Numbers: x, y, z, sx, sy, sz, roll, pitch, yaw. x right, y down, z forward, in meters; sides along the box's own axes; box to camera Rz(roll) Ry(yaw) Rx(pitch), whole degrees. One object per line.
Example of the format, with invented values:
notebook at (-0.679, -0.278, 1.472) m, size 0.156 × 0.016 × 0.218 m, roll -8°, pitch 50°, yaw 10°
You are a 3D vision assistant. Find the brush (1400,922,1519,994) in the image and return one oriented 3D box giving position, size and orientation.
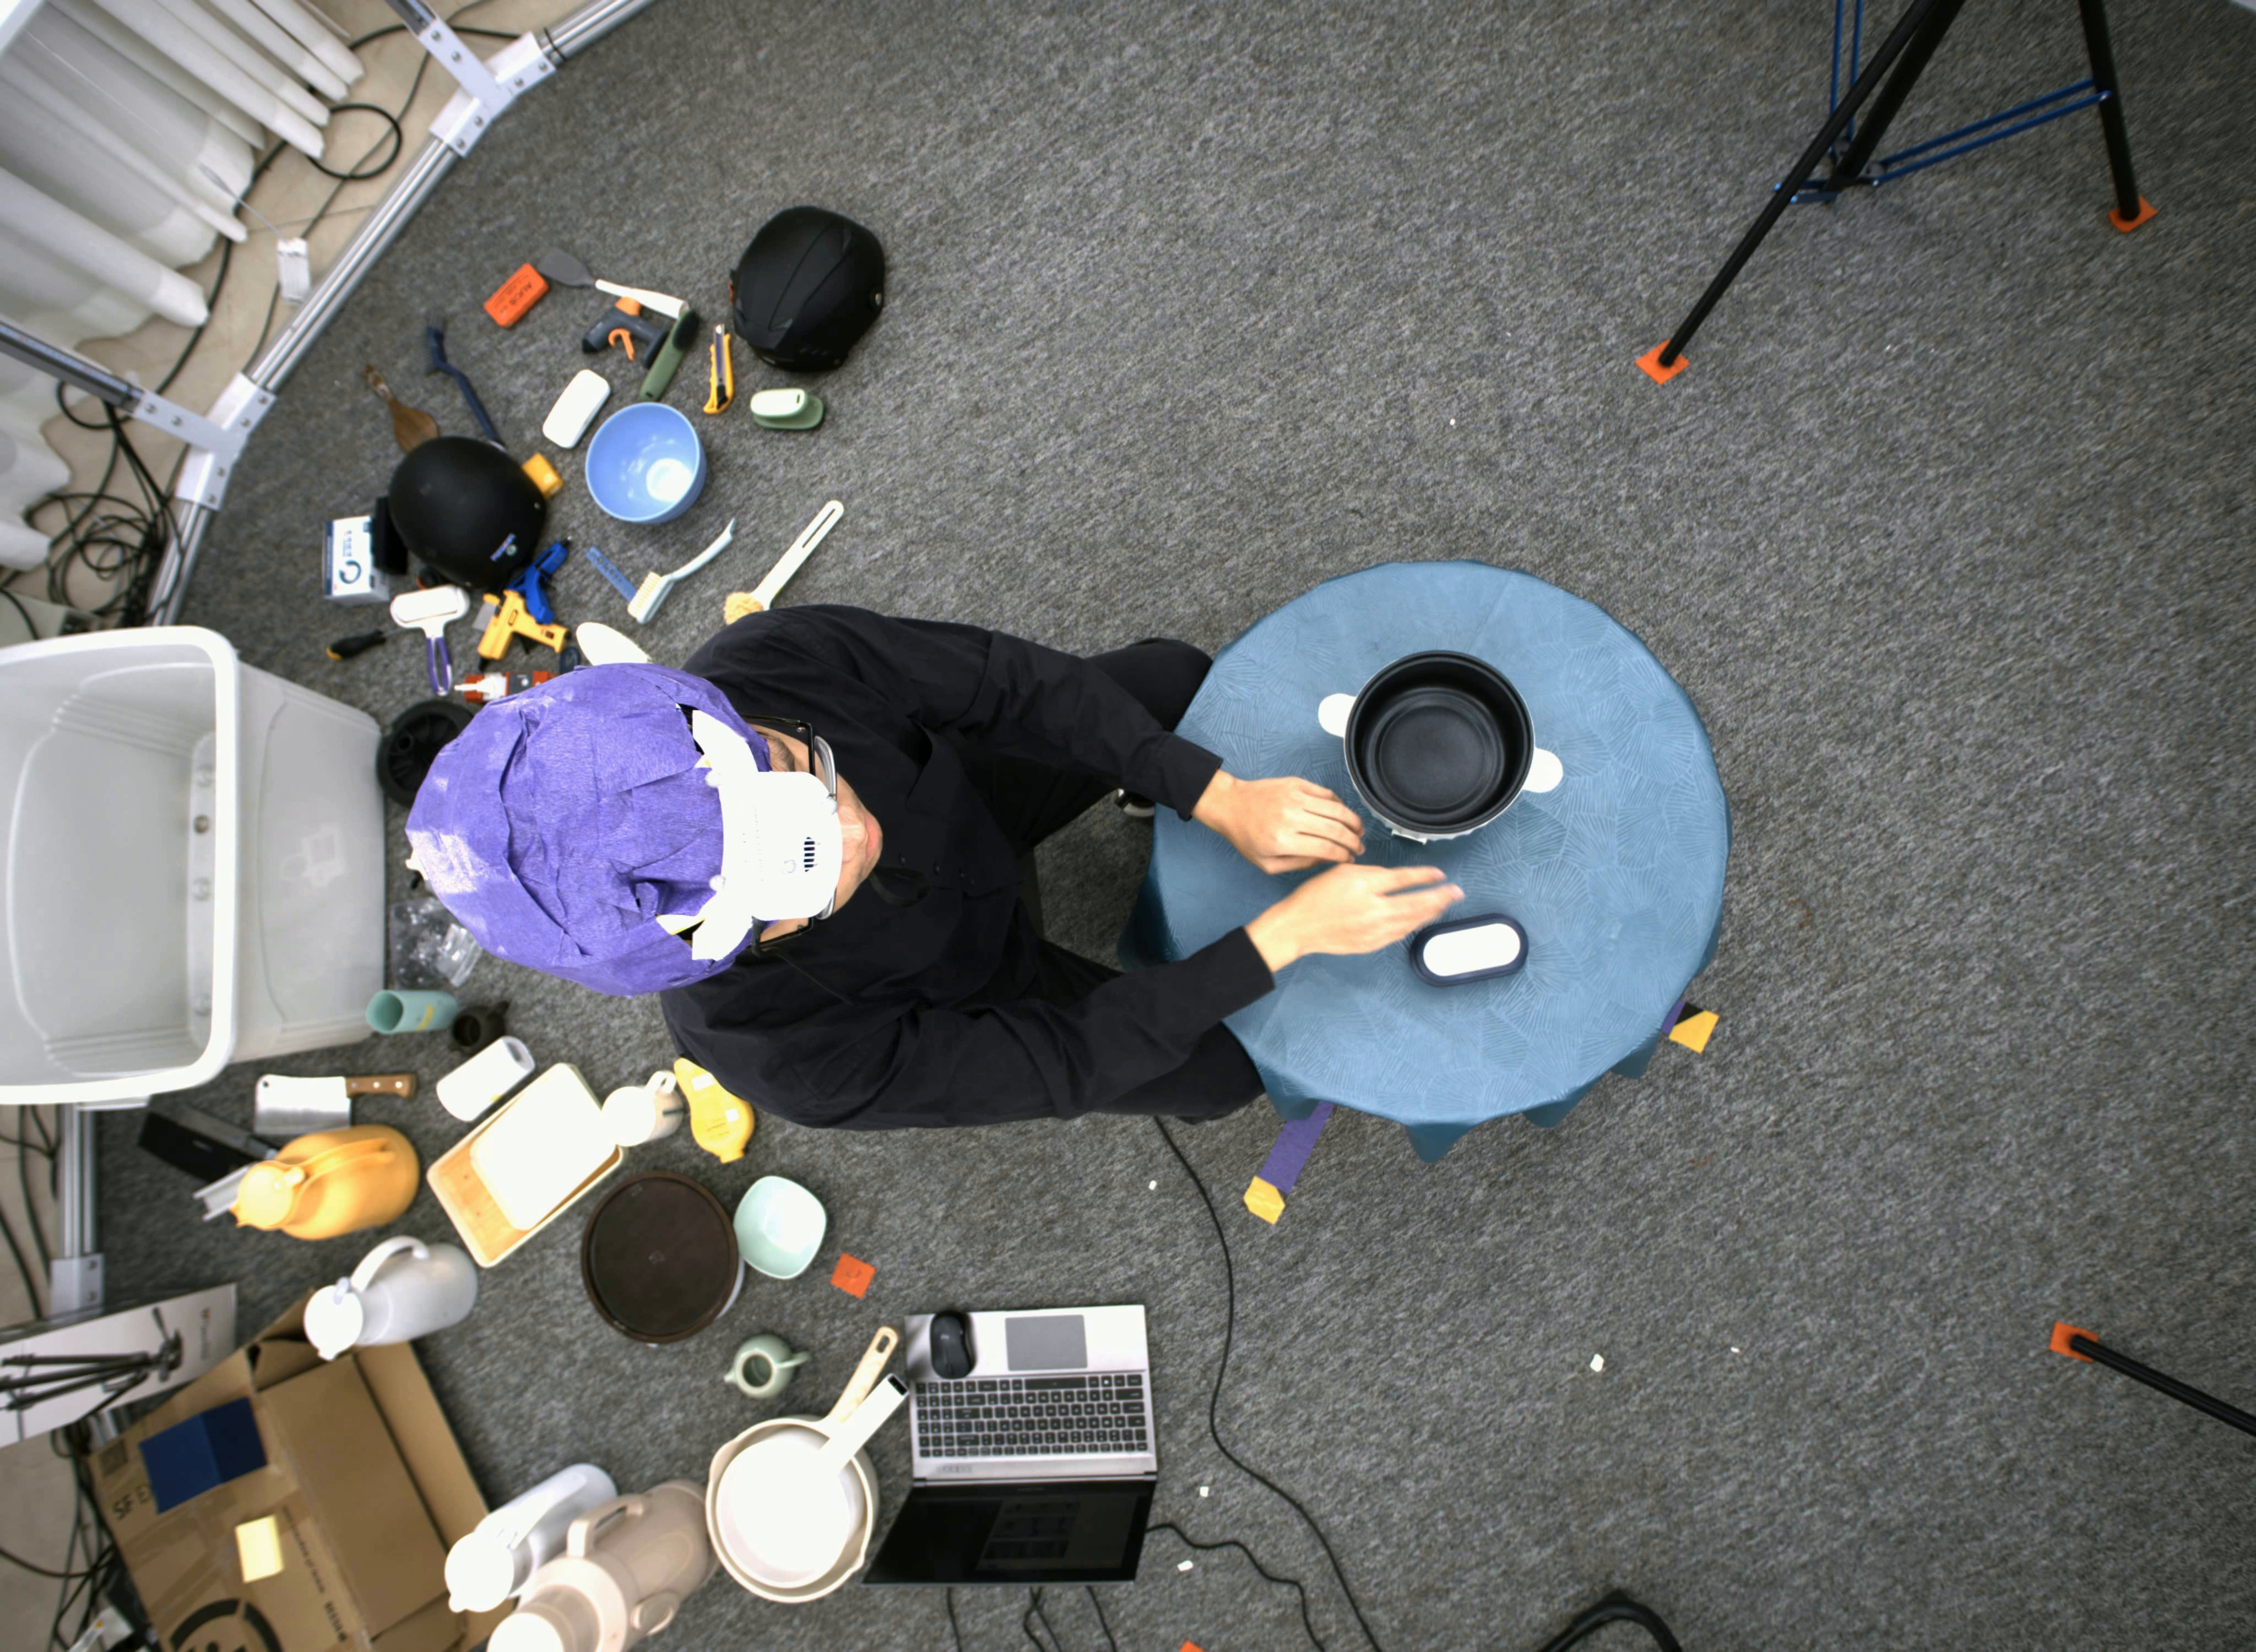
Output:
brush at (0.341, 0.134, 1.417) m, size 0.122 × 0.061 × 0.068 m, roll -8°, pitch 88°, yaw 6°

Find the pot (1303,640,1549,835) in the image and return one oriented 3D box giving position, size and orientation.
pot at (0.296, -0.092, 1.386) m, size 0.240 × 0.142 × 0.190 m, roll 16°, pitch 91°, yaw 9°
